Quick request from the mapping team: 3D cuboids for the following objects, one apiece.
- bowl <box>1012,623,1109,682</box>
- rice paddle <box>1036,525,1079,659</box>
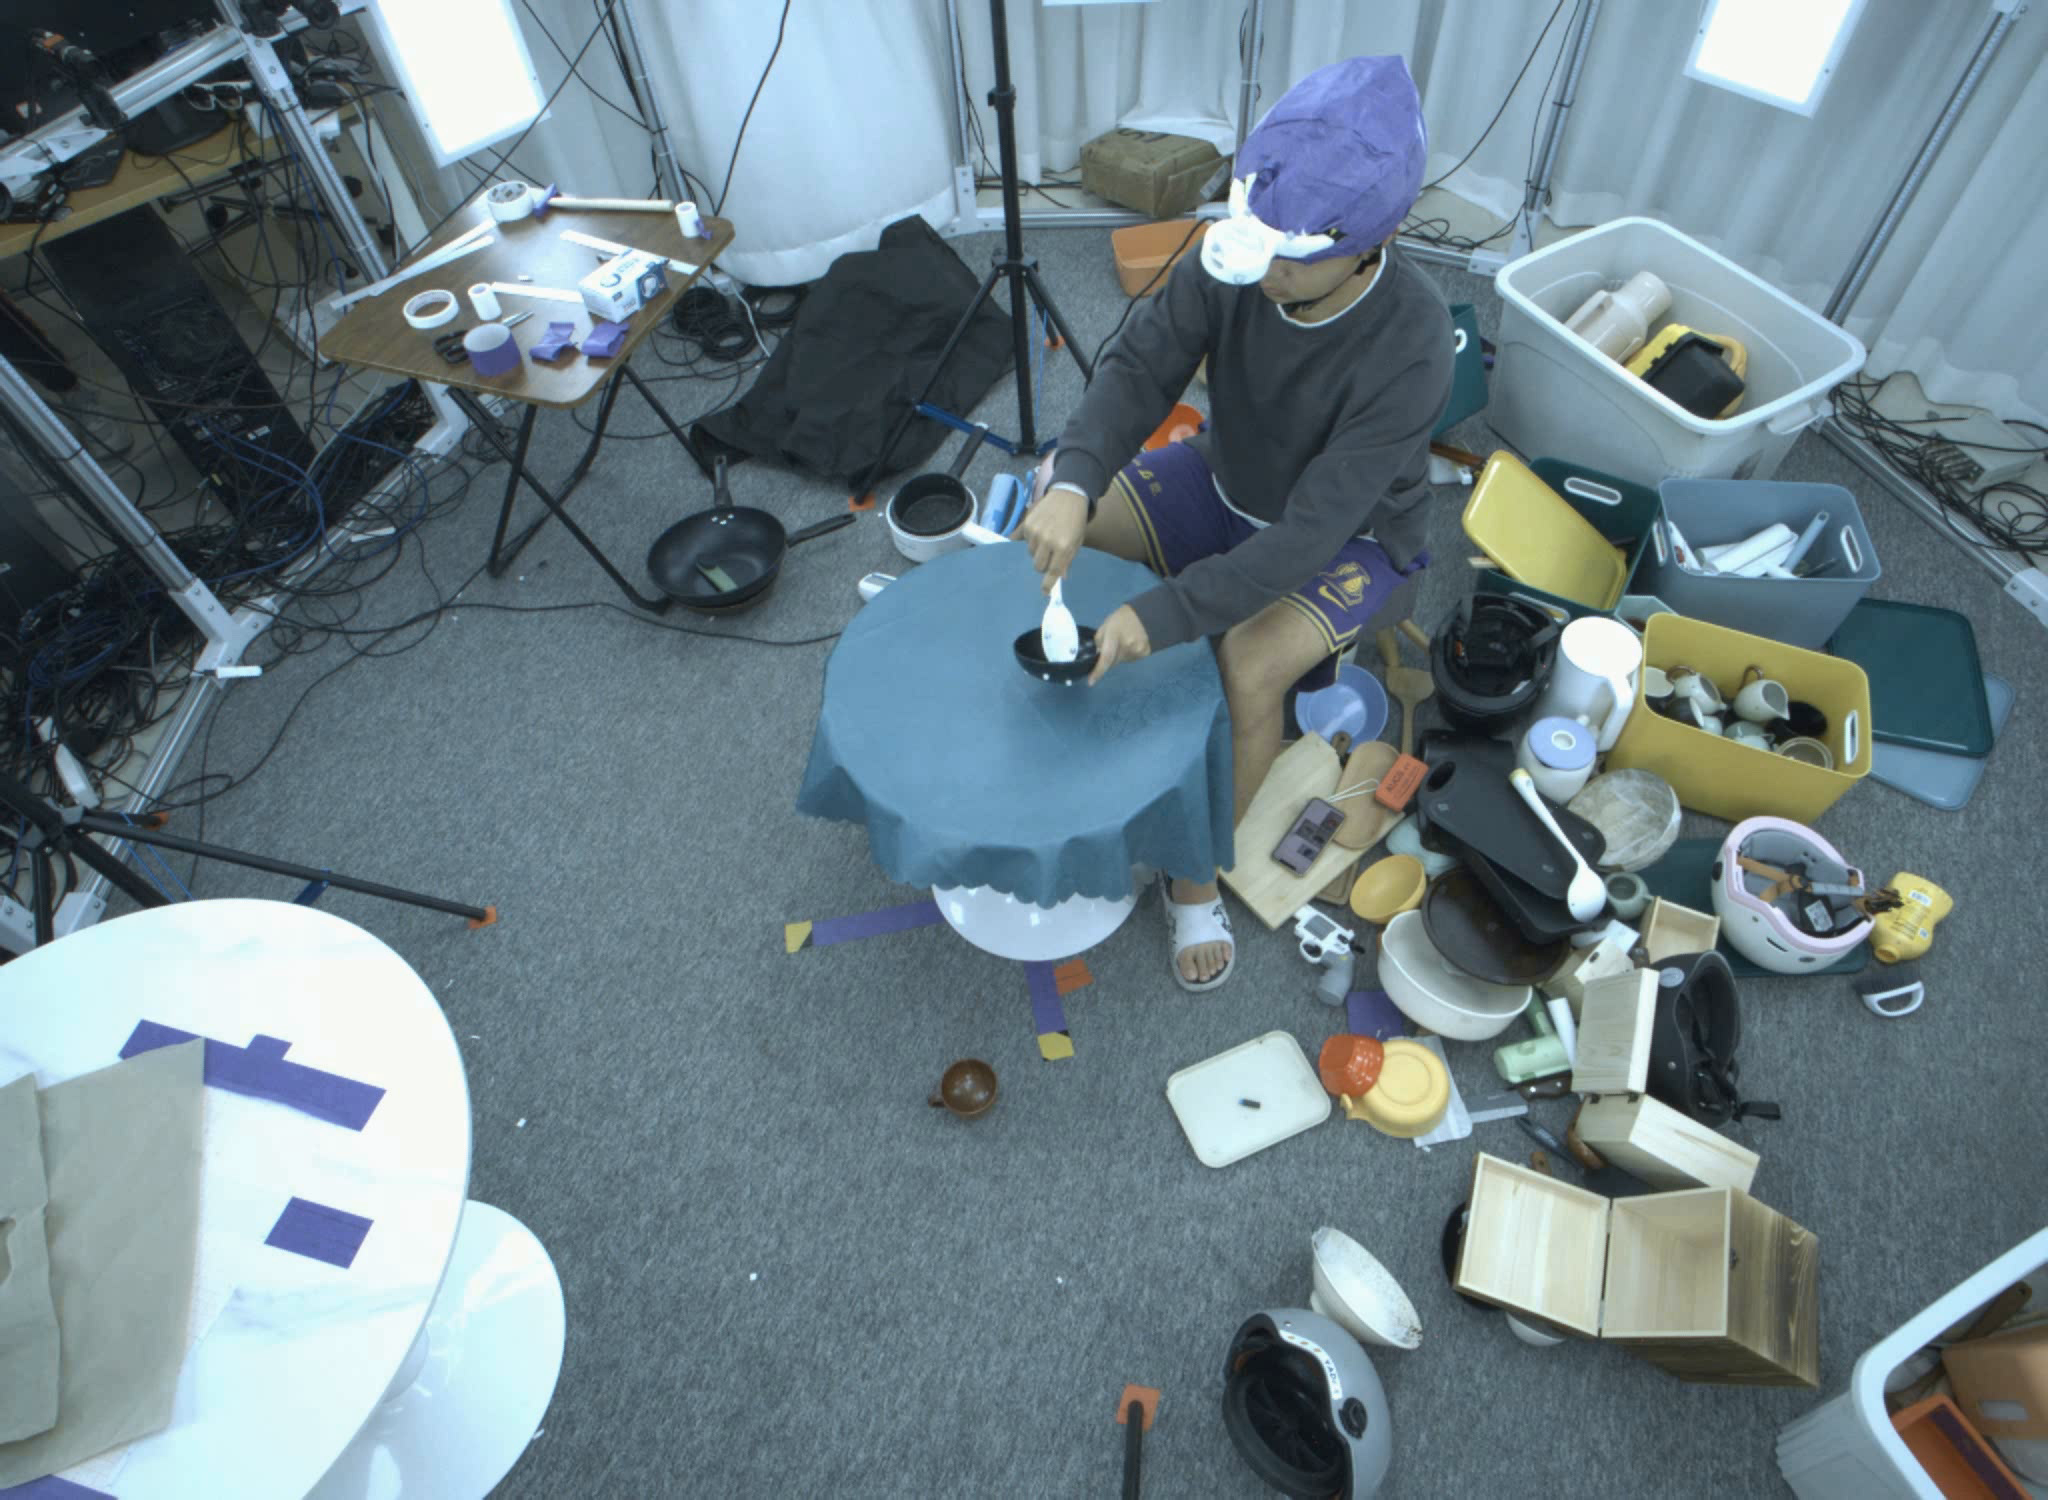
[{"bbox_3d":[0.054,-0.134,1.778,0.140,0.050,0.139,-1,29,2],"label":"bowl"},{"bbox_3d":[0.046,-0.220,1.770,0.070,0.206,0.029,-13,8,-41],"label":"rice paddle"}]
